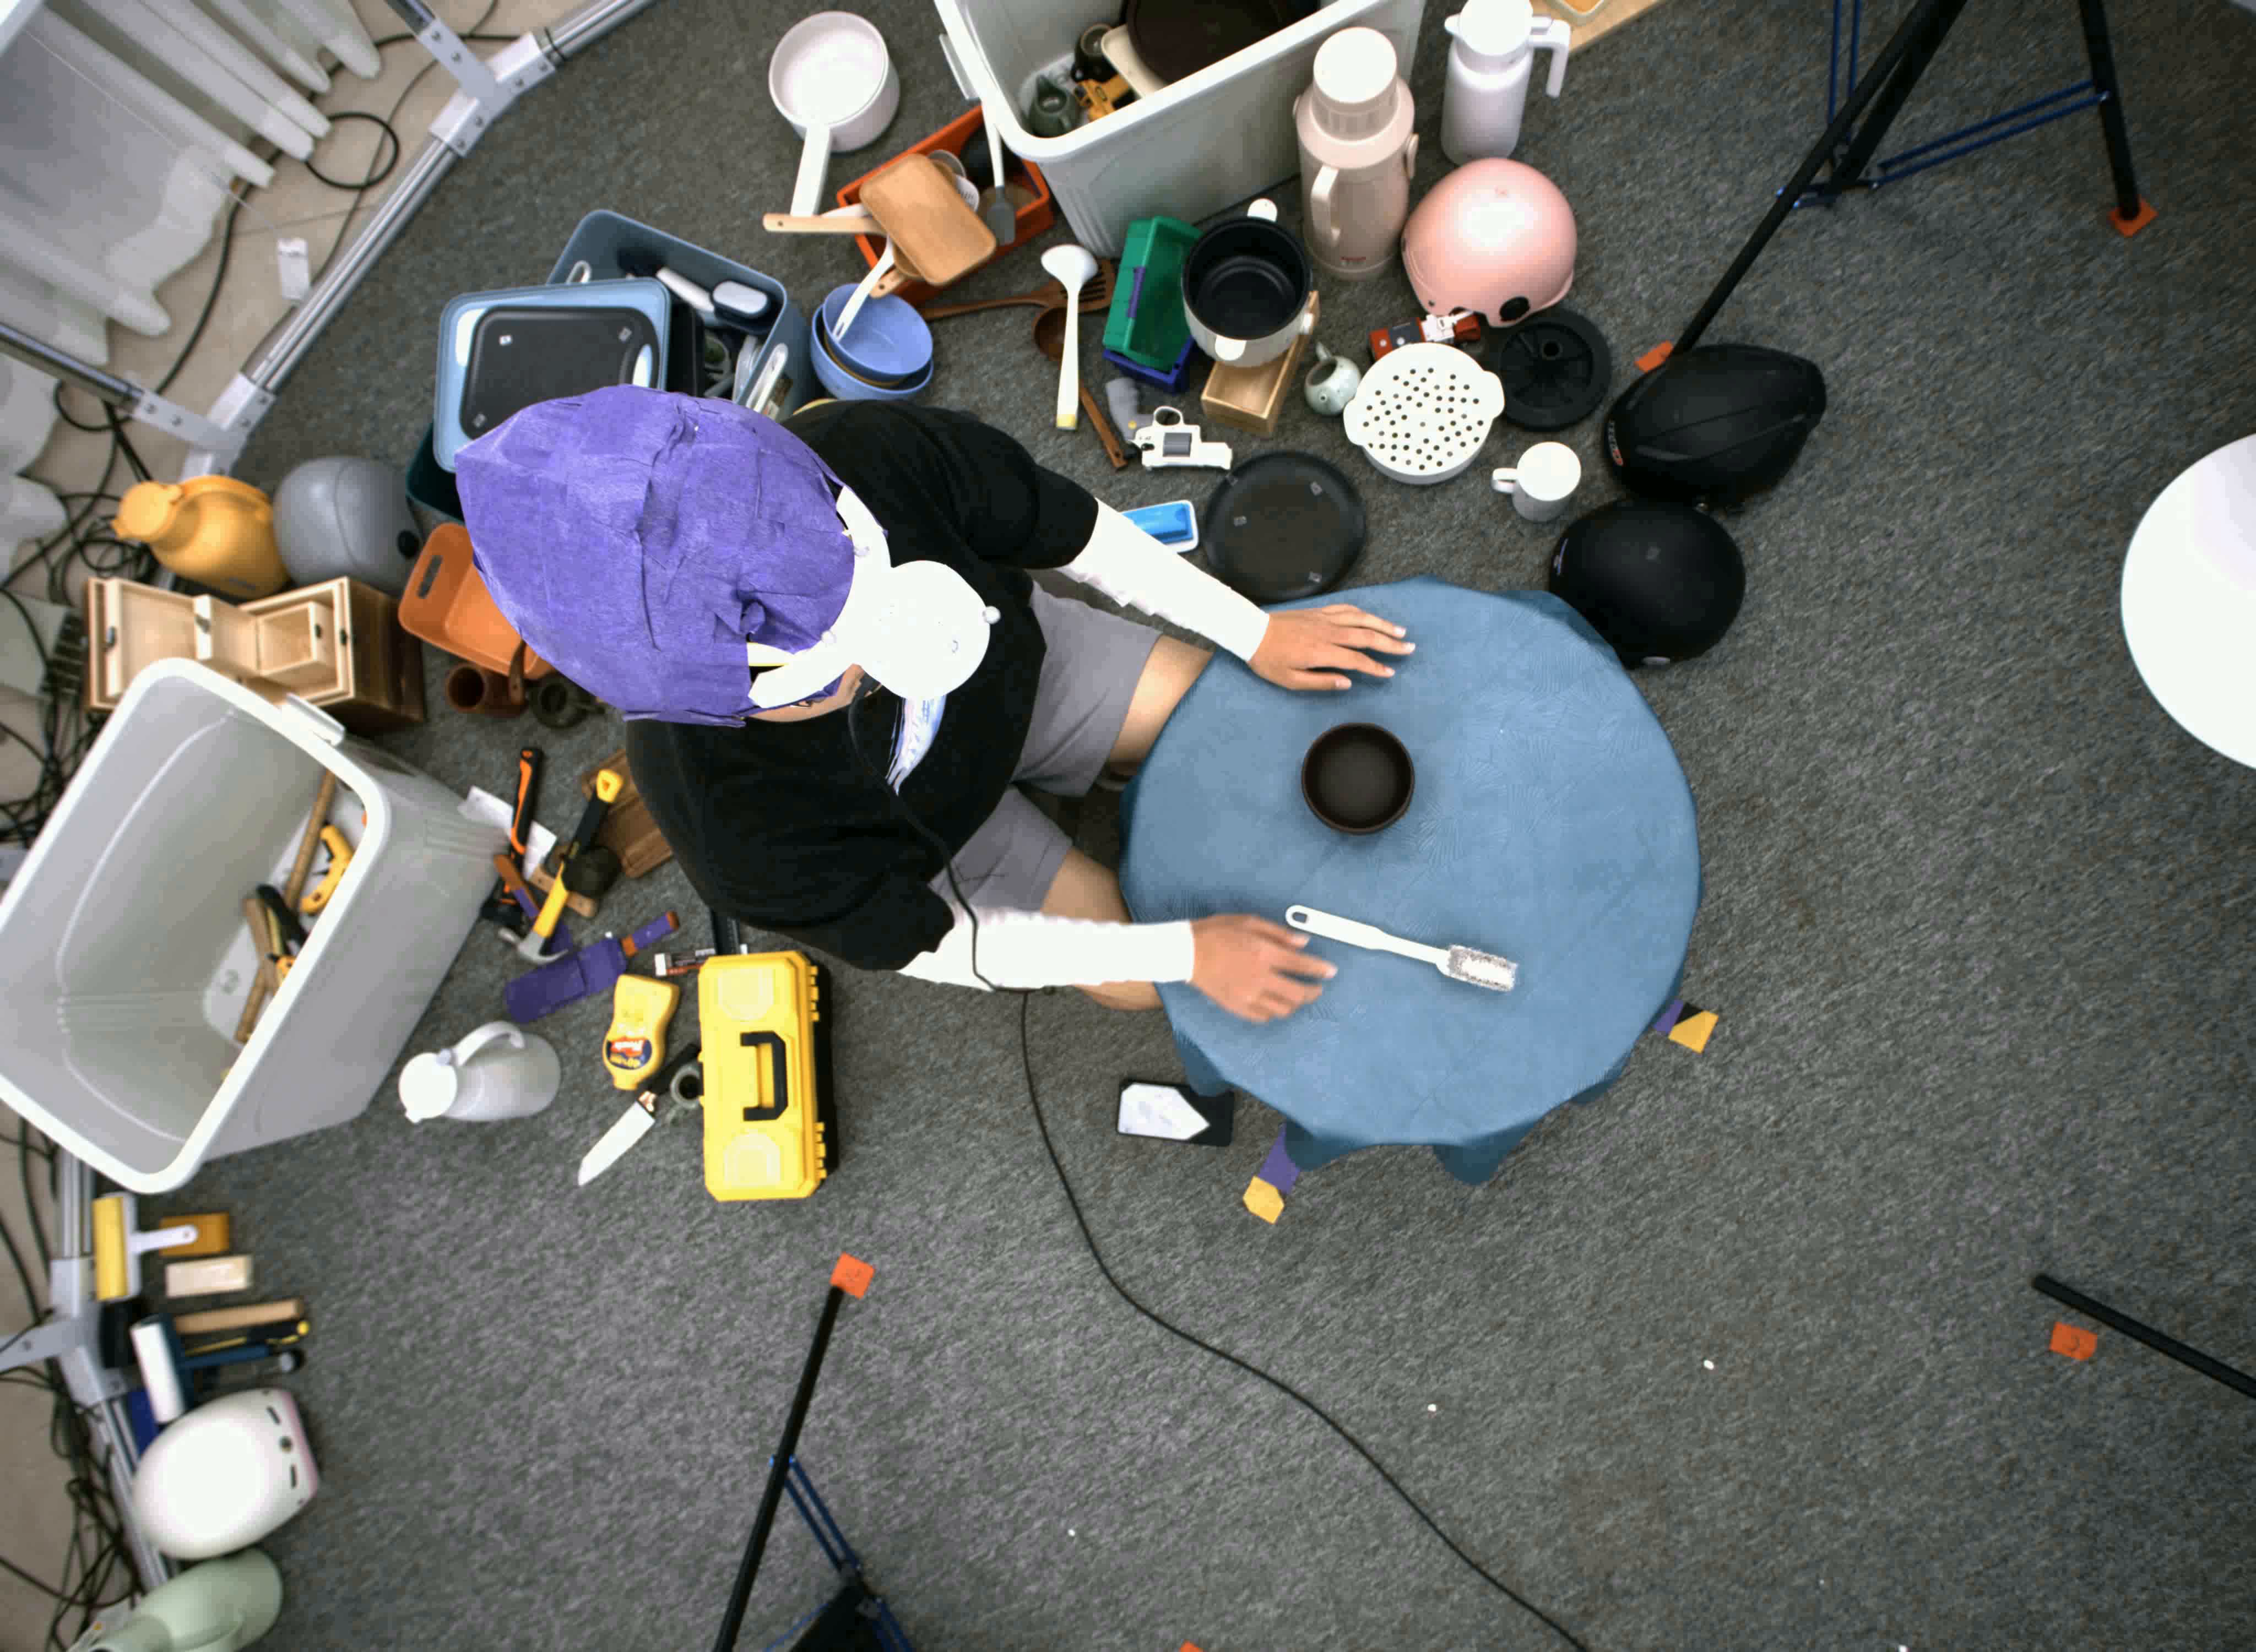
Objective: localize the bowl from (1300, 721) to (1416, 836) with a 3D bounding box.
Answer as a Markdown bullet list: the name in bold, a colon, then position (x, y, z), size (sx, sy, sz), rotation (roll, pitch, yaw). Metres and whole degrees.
- **bowl**: position (0.239, -0.048, 1.434), size (0.118, 0.070, 0.117), rotation (-1, 87, 12)

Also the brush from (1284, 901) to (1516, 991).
- **brush**: position (0.279, 0.120, 1.428), size (0.244, 0.050, 0.034), rotation (17, 87, 10)
